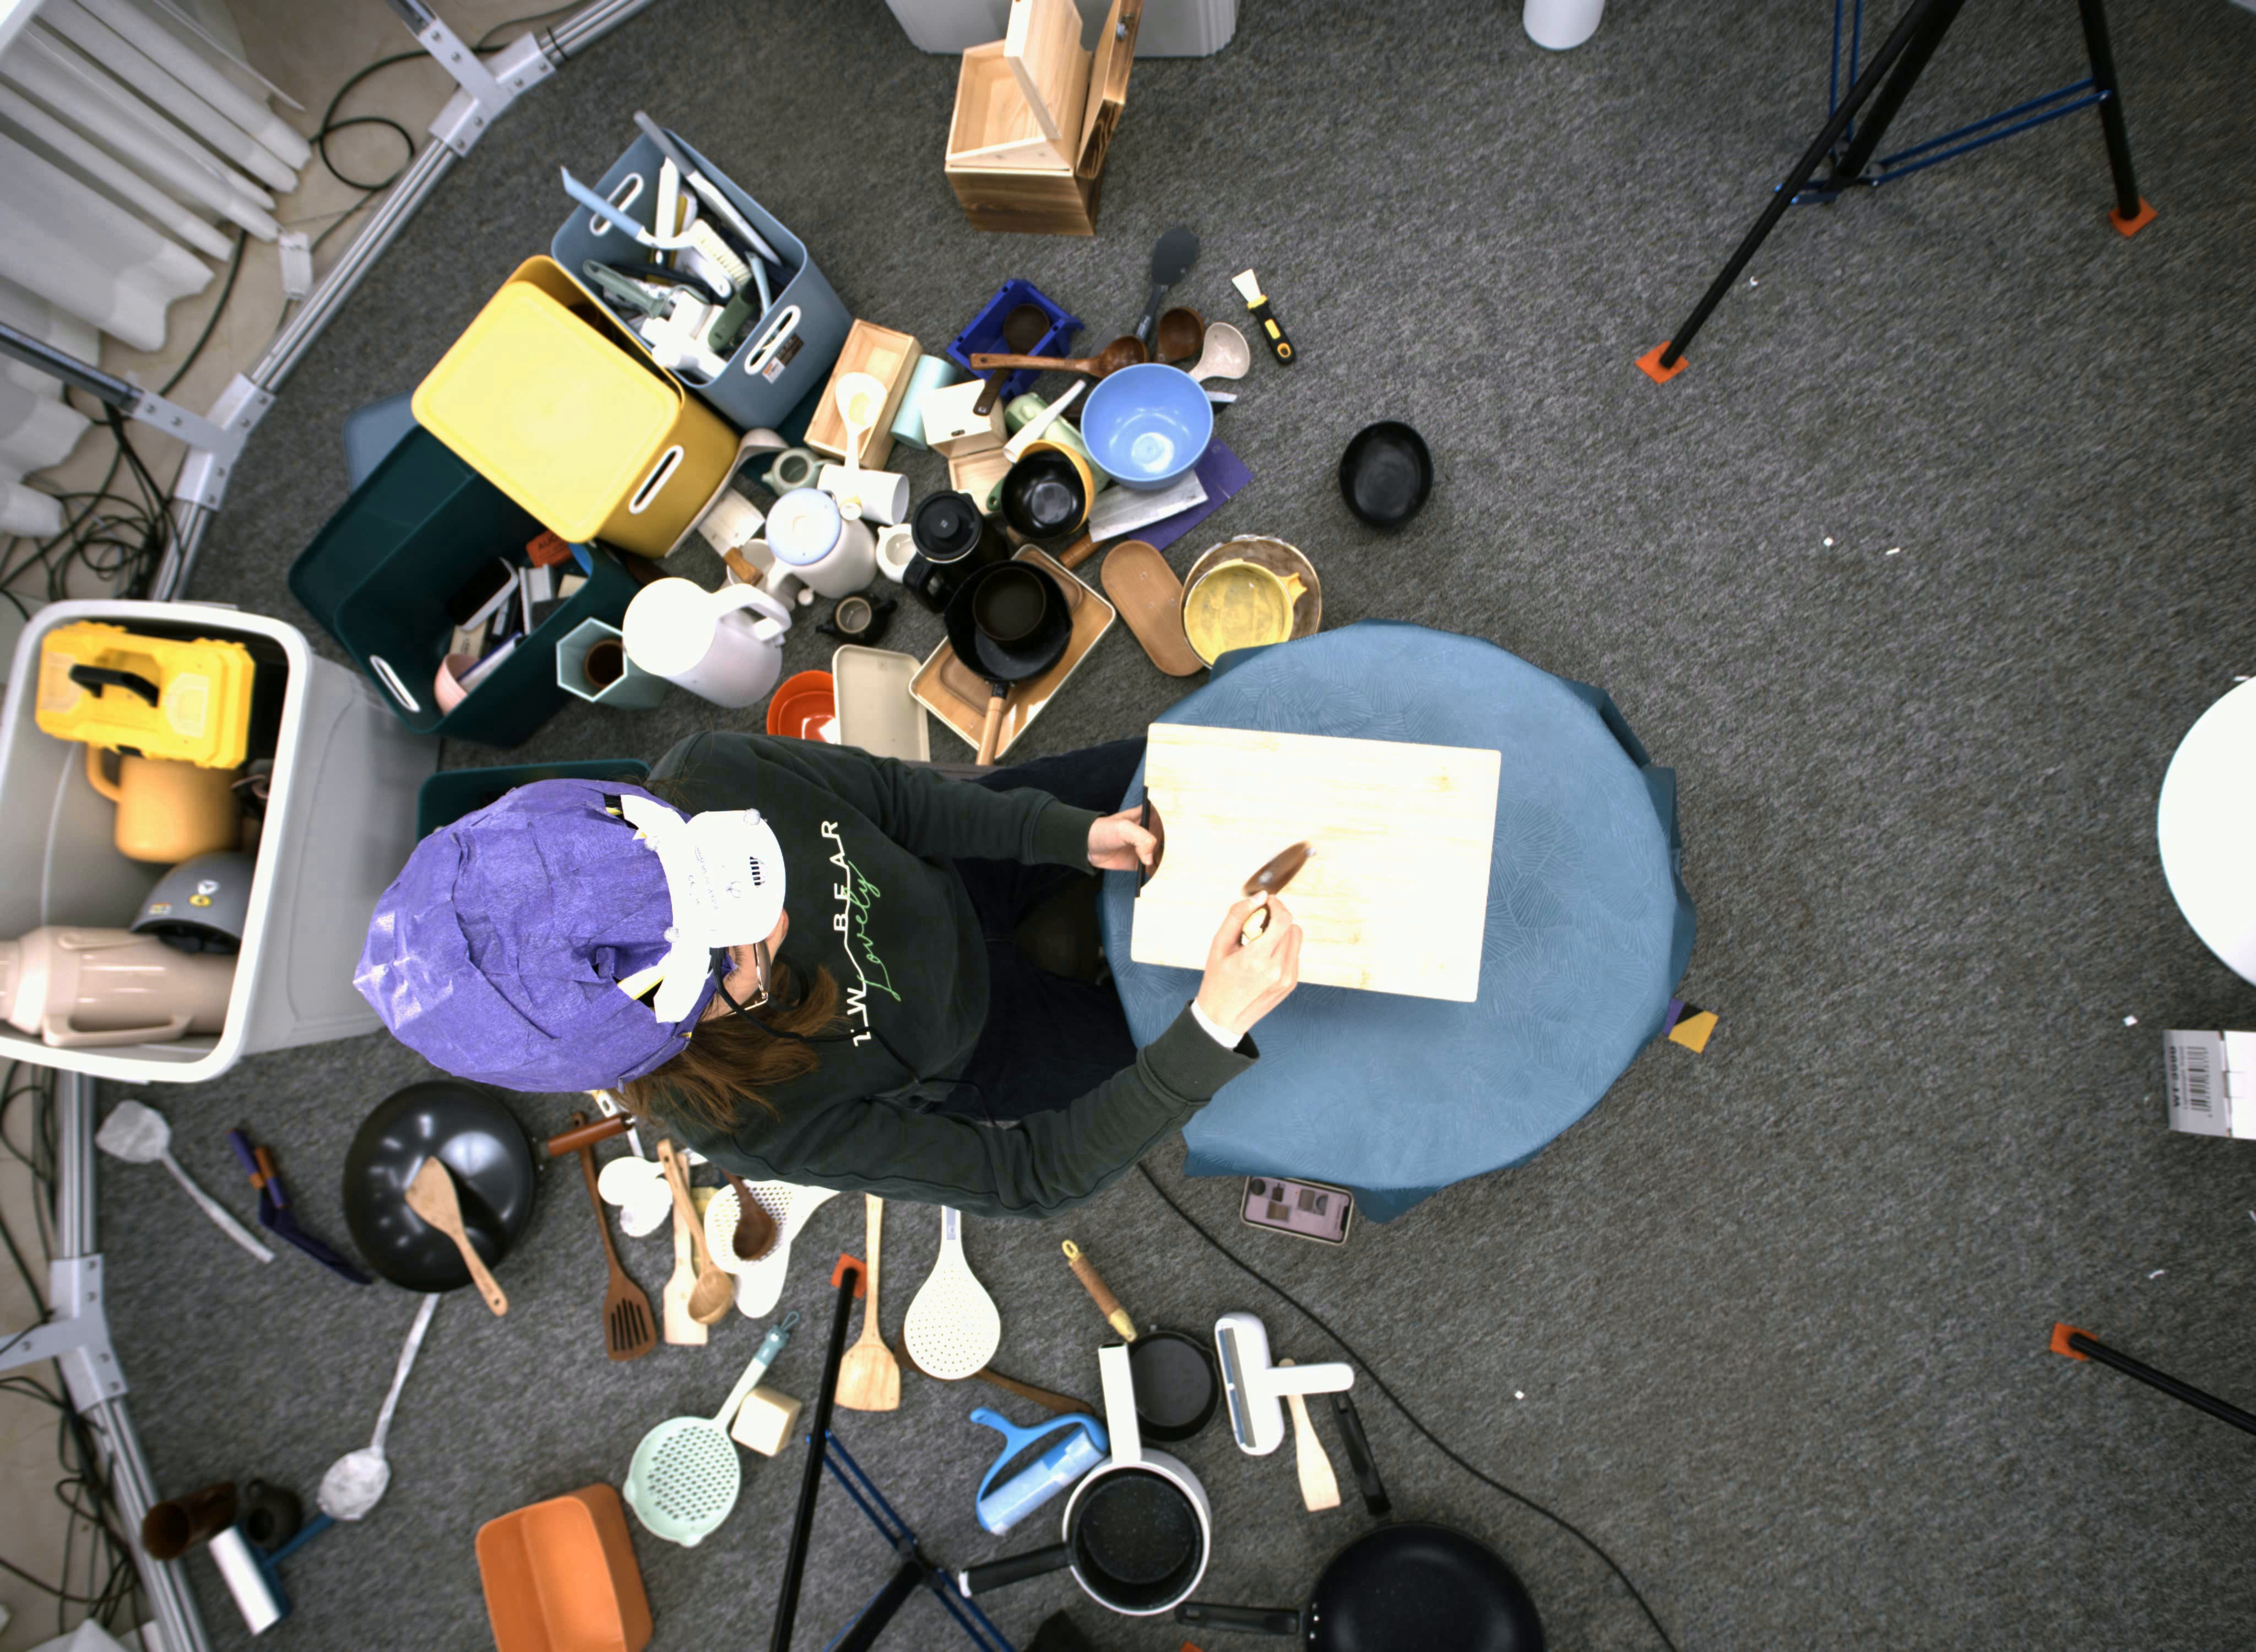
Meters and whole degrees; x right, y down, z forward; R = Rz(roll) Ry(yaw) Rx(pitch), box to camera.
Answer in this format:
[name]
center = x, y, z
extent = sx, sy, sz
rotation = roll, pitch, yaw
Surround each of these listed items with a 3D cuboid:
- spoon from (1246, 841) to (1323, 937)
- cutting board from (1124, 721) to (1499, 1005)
[spoon]
center = 0.130, 0.055, 1.206
extent = 0.076, 0.212, 0.017
rotation = -32, 94, 21
[cutting board]
center = 0.174, 0.032, 1.351
extent = 0.350, 0.023, 0.252
rotation = 5, 96, 14
